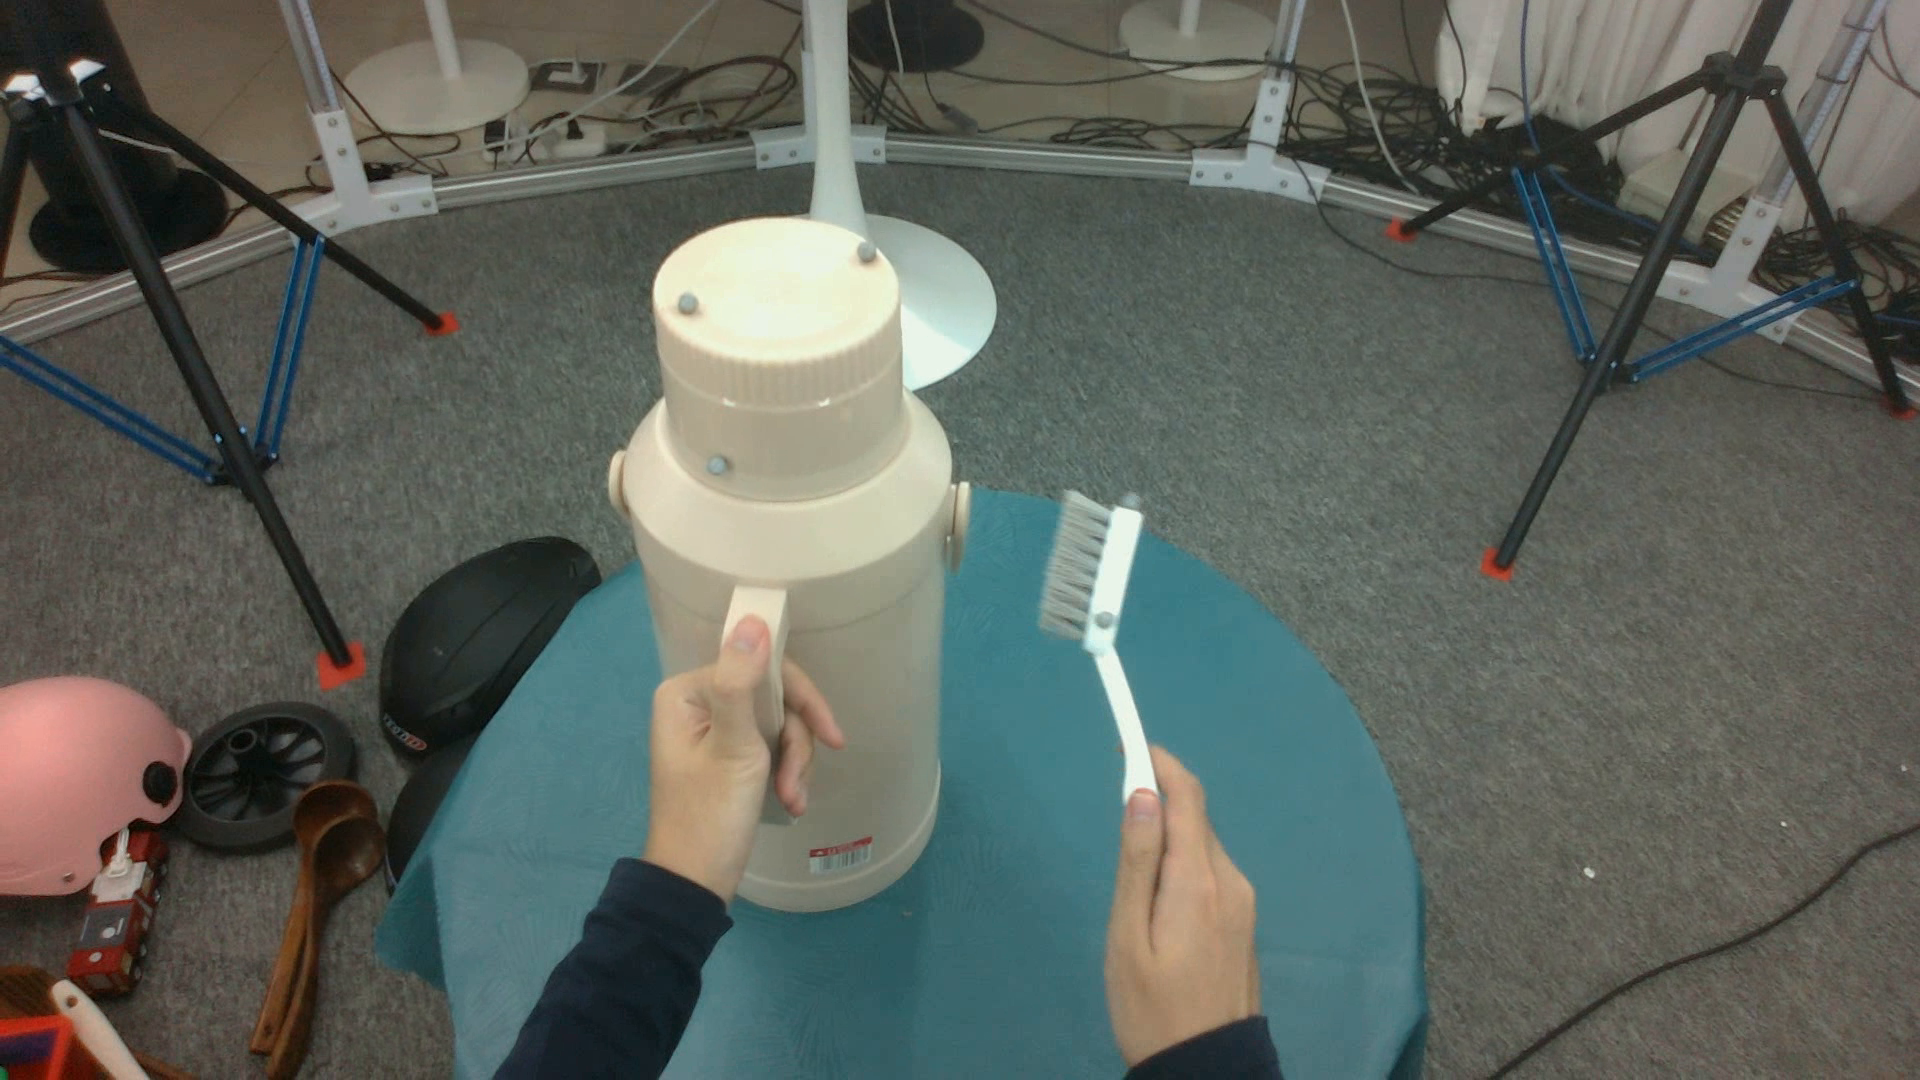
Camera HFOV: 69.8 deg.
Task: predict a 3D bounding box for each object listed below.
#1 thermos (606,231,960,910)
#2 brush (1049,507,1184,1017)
[{"bbox_3d":[-0.094,0.042,0.734,0.175,0.404,0.208,6,46,-1],"label":"thermos"},{"bbox_3d":[0.073,0.105,0.657,0.050,0.034,0.244,-5,87,2],"label":"brush"}]
